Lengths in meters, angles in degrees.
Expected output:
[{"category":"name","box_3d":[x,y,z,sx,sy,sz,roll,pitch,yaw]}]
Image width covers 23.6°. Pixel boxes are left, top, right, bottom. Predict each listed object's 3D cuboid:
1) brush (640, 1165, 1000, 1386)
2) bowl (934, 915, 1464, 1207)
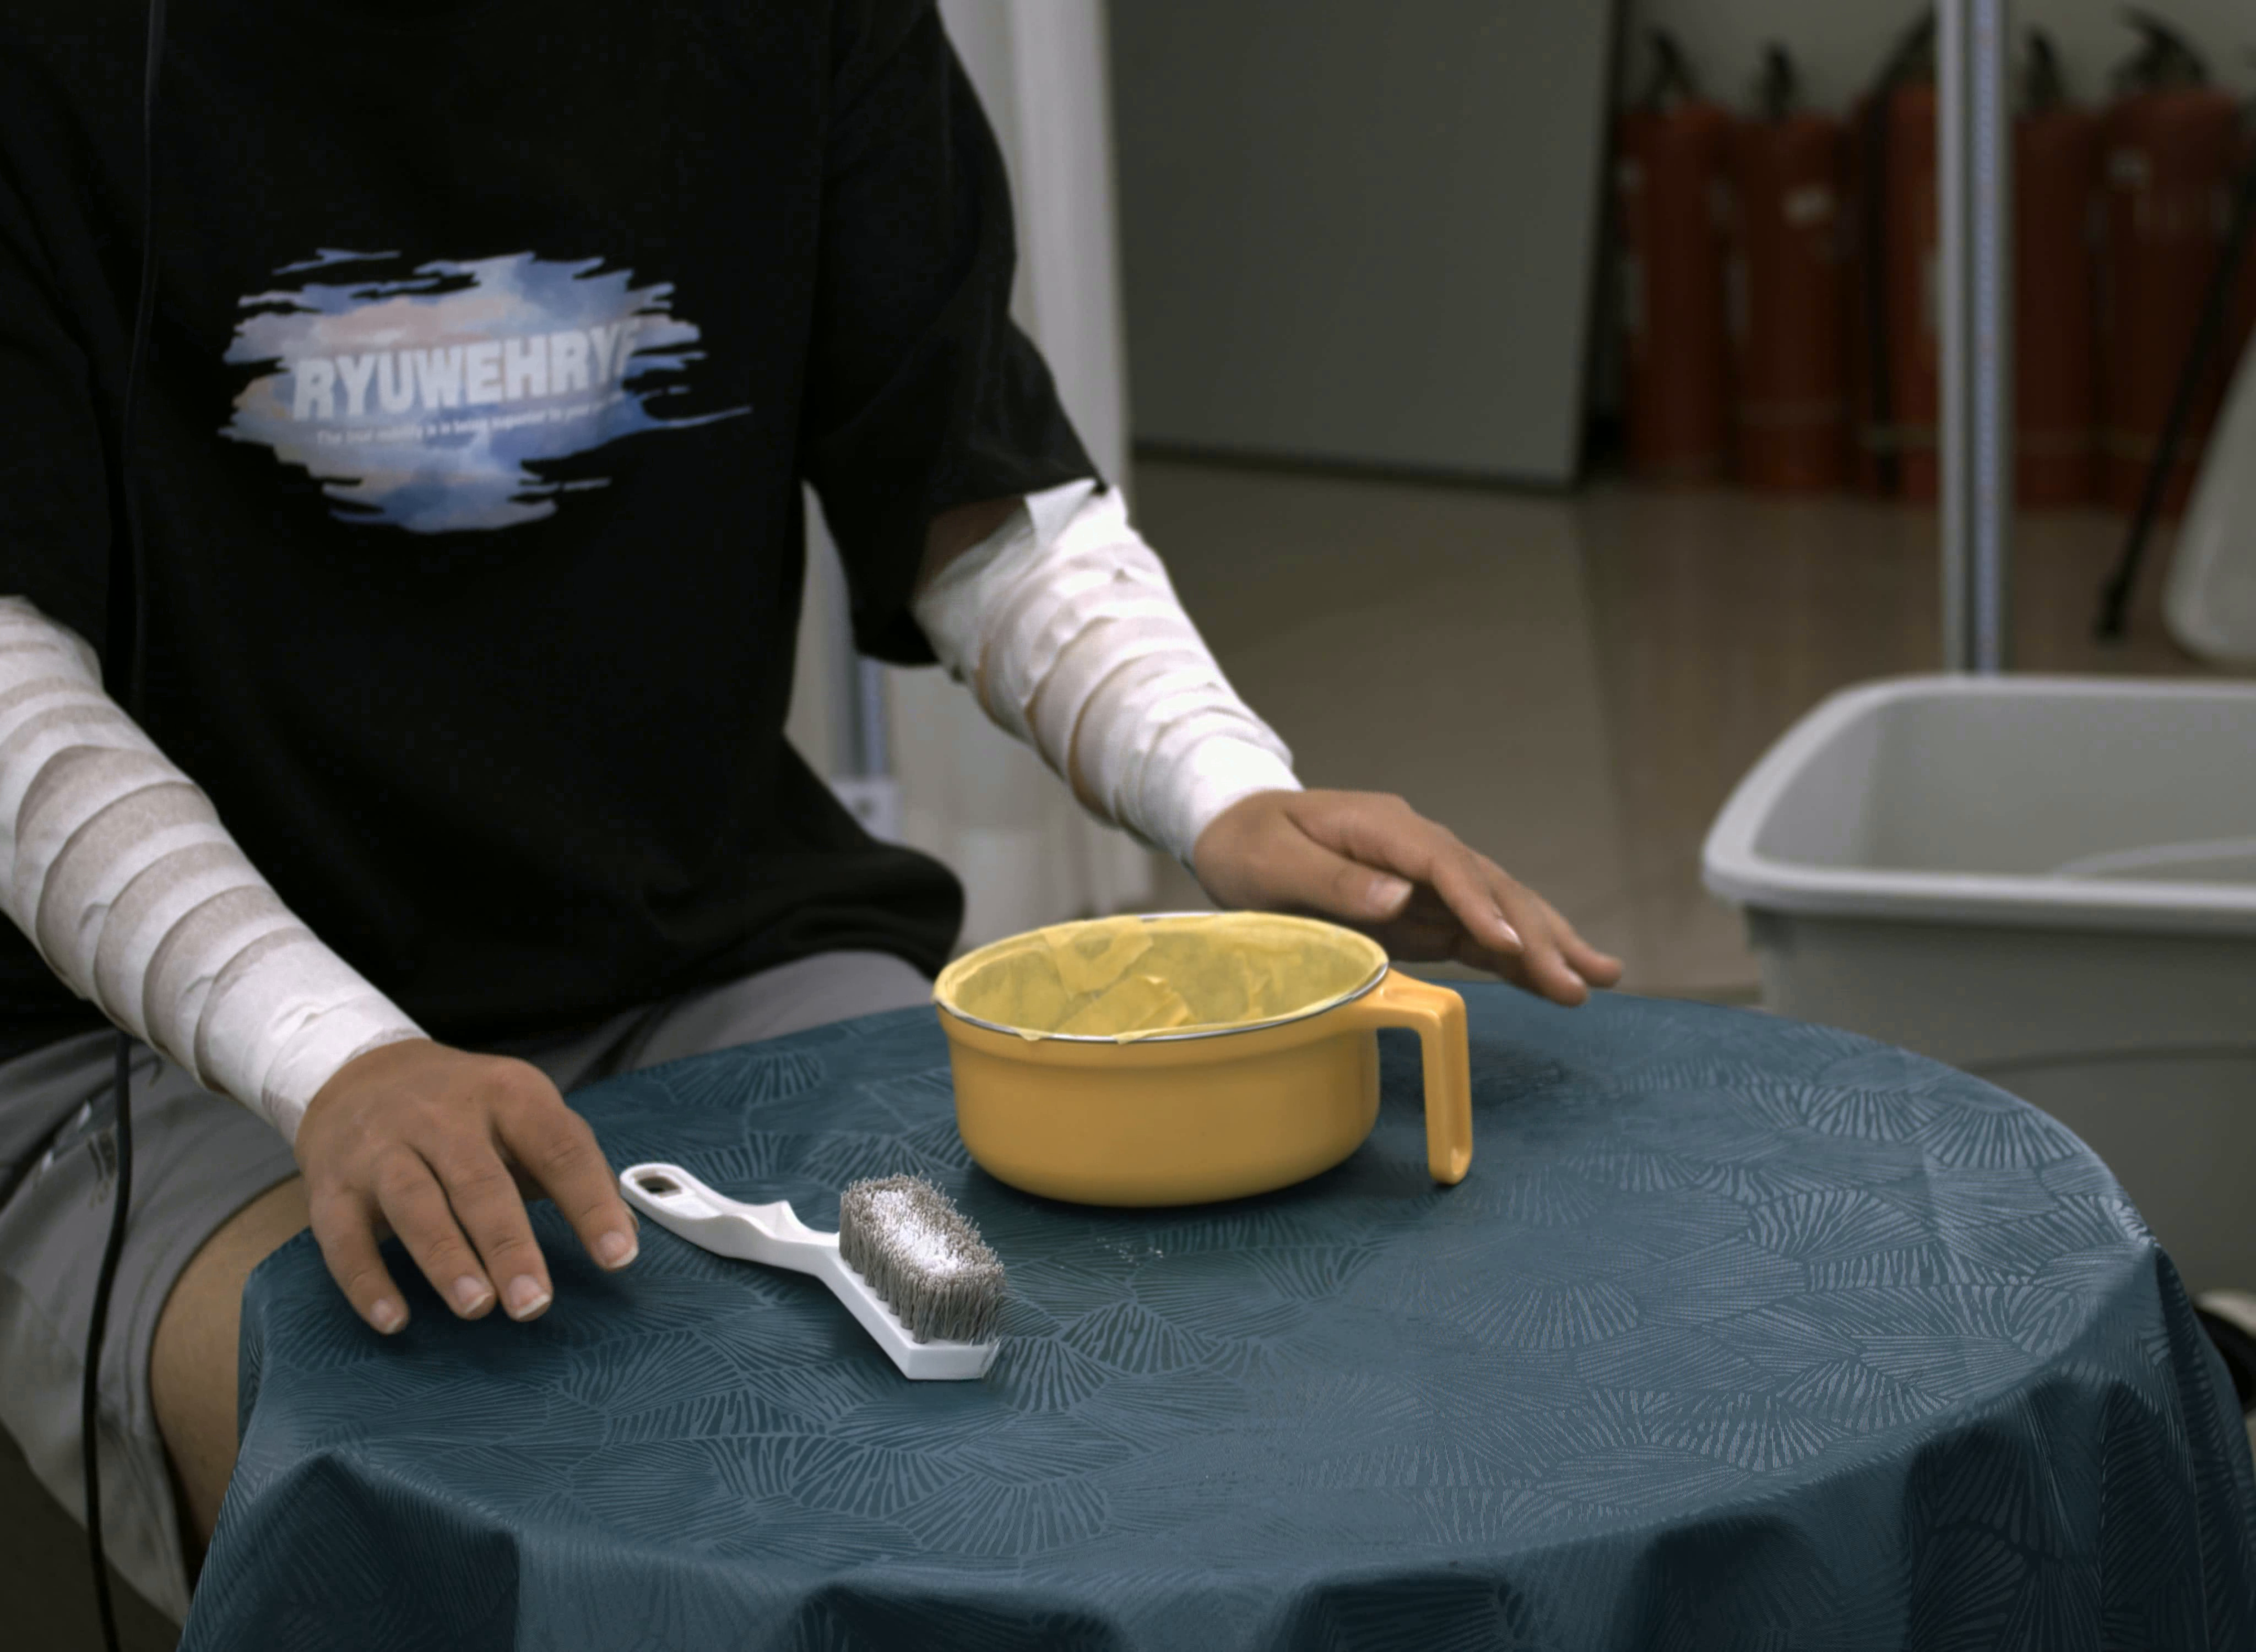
[{"category":"brush","box_3d":[-0.103,0.121,1.699,0.033,0.051,0.246,-11,16,-24]},{"category":"bowl","box_3d":[0.024,0.080,1.786,0.179,0.075,0.151,2,10,21]}]
